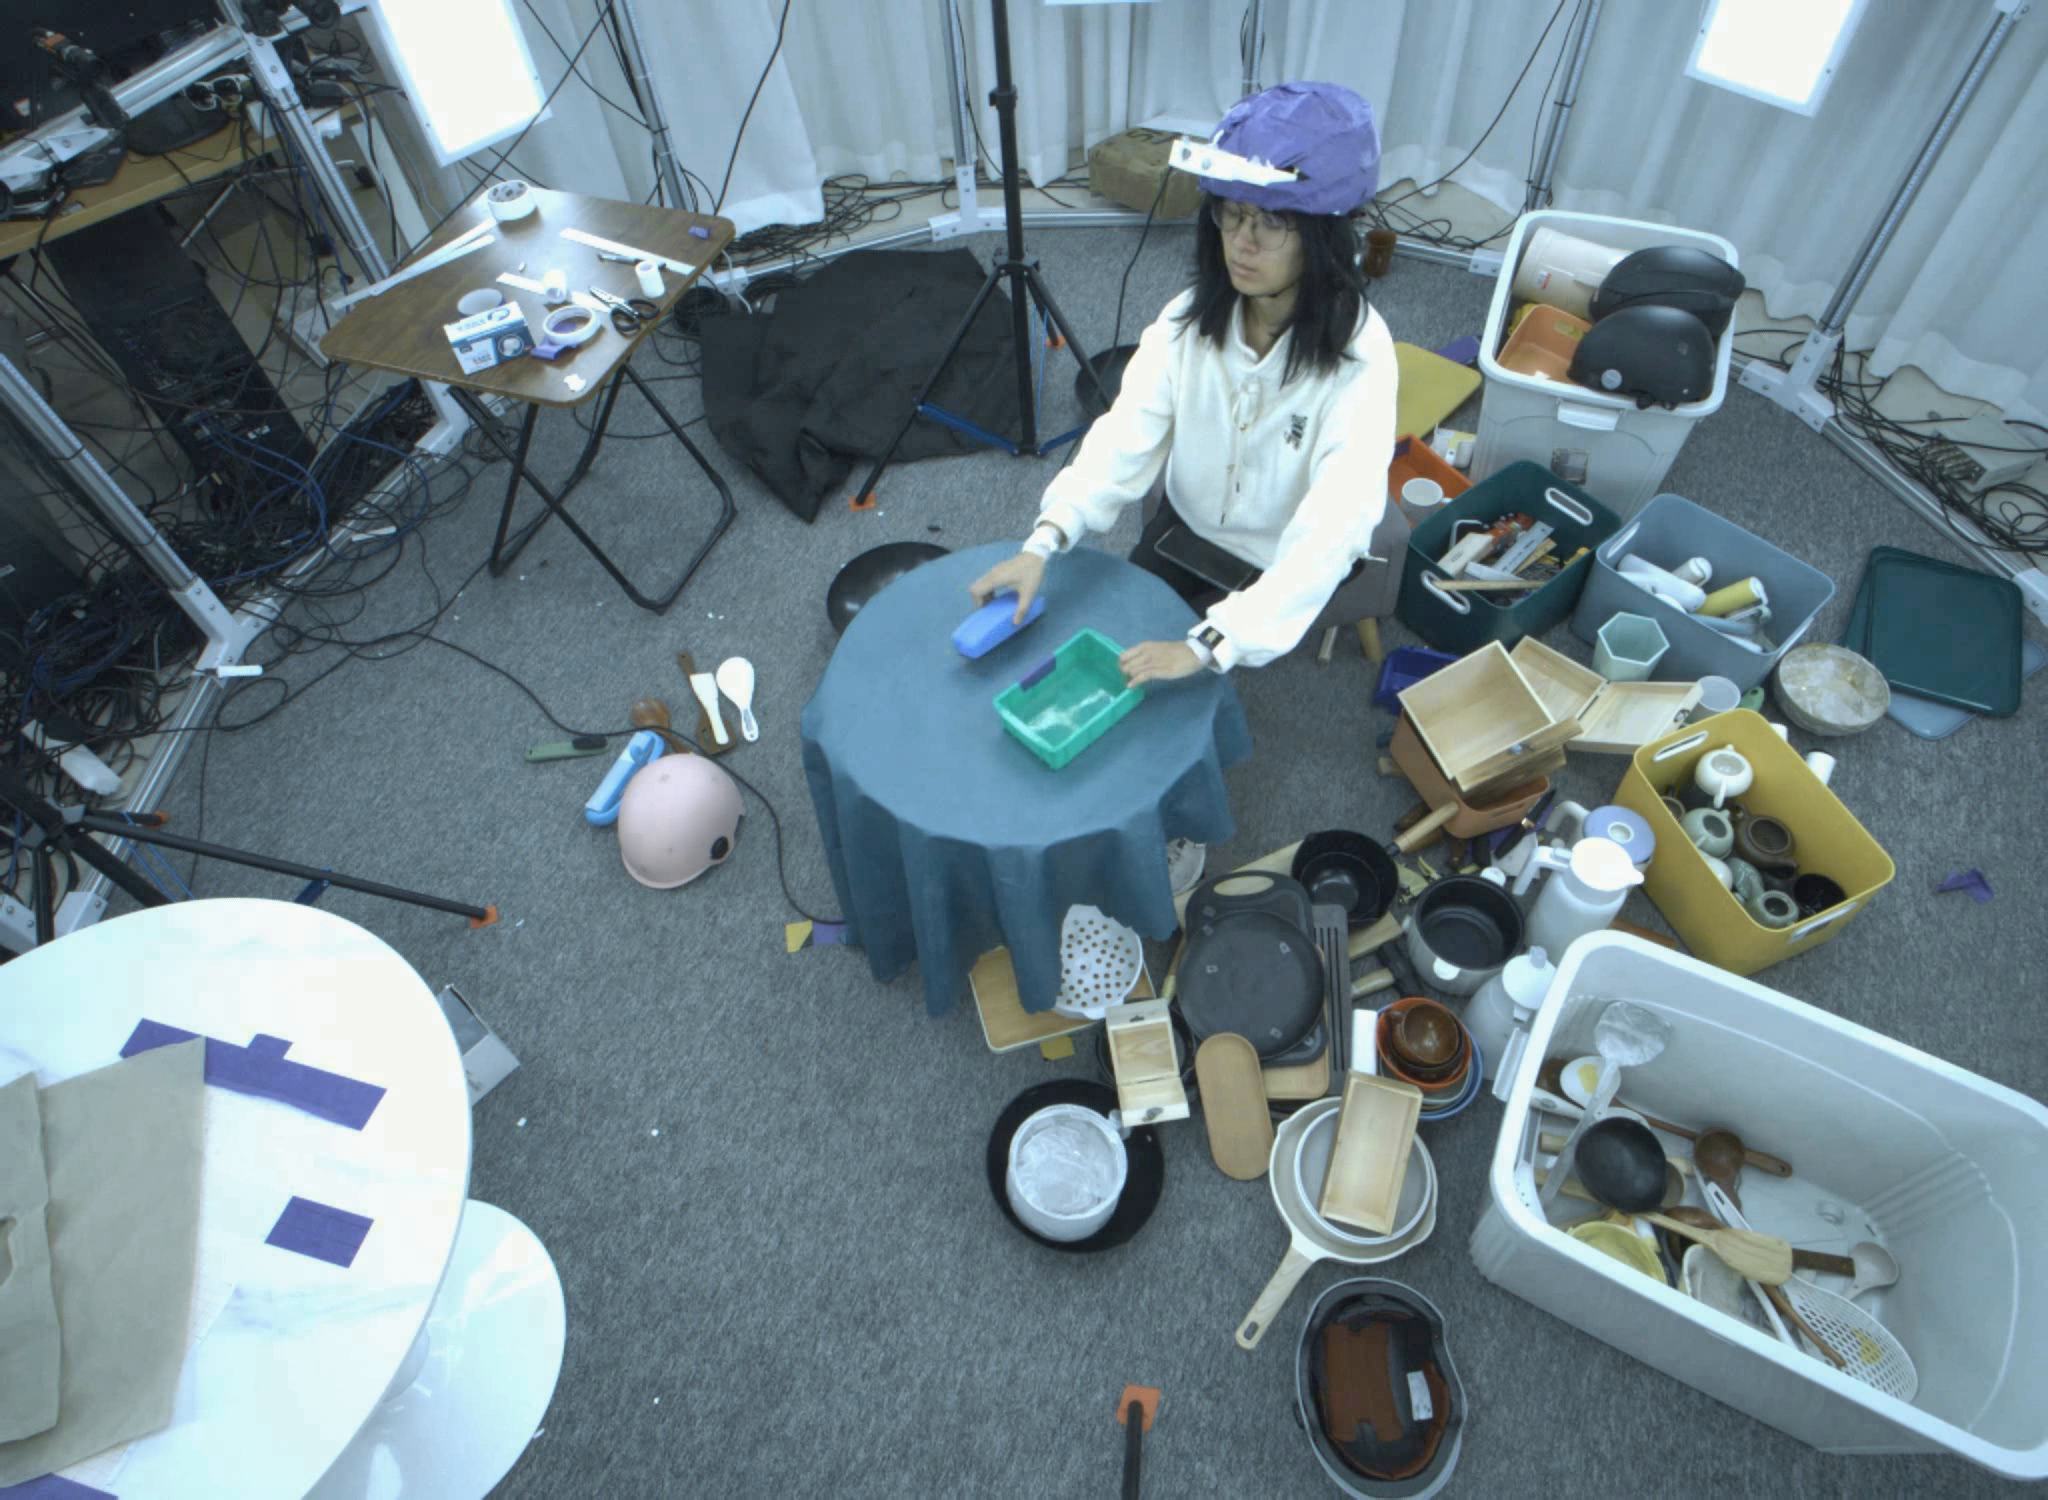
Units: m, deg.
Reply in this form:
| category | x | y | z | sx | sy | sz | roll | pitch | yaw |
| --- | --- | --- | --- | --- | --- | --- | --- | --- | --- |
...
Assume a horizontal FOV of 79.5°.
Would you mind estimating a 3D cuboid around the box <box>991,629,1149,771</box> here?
| category | x | y | z | sx | sy | sz | roll | pitch | yaw |
| --- | --- | --- | --- | --- | --- | --- | --- | --- | --- |
| box | 0.069 | -0.070 | 1.795 | 0.212 | 0.066 | 0.136 | -40 | 60 | -21 |

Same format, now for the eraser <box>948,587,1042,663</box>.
| category | x | y | z | sx | sy | sz | roll | pitch | yaw |
| --- | --- | --- | --- | --- | --- | --- | --- | --- | --- |
| eraser | -0.045 | -0.197 | 1.880 | 0.052 | 0.048 | 0.163 | 29 | 55 | 35 |
